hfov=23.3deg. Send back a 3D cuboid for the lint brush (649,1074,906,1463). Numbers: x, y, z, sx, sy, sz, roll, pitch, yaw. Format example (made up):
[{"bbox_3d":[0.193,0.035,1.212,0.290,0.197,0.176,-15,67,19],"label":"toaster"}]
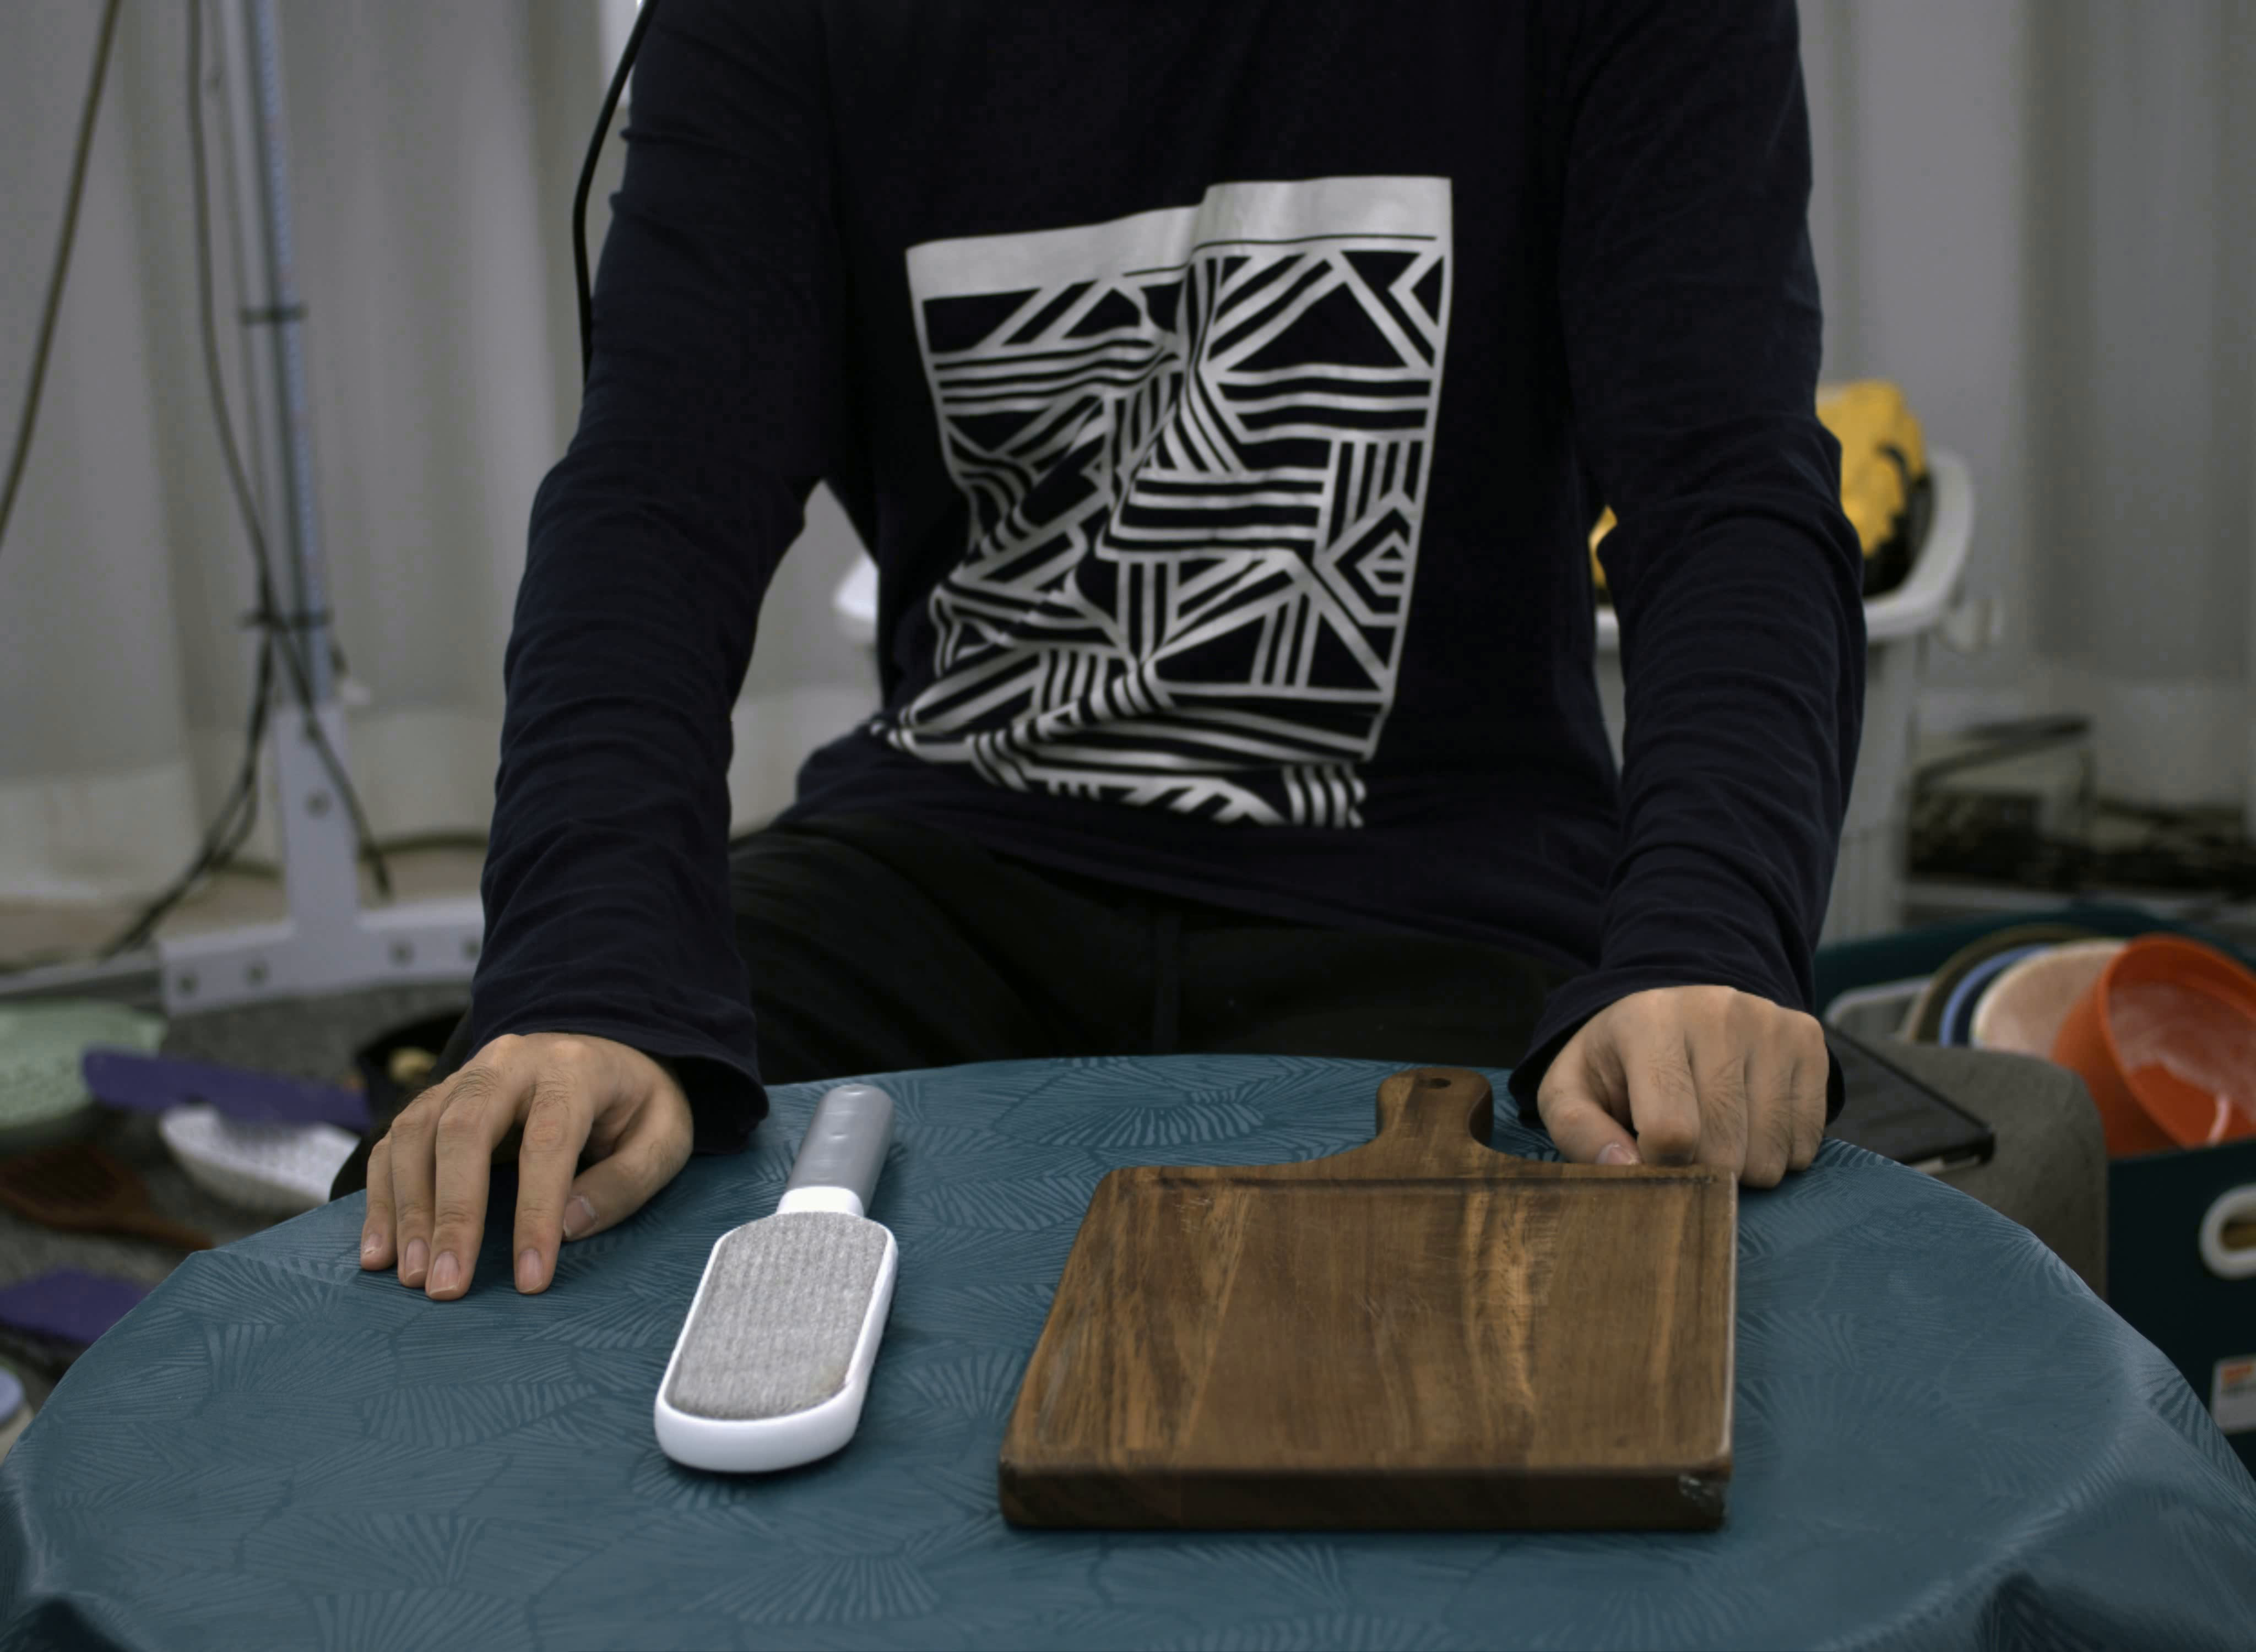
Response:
[{"bbox_3d":[-0.095,0.128,1.633,0.060,0.021,0.311,-7,14,5],"label":"lint brush"}]

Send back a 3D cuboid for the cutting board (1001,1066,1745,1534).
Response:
[{"bbox_3d":[0.081,0.132,1.599,0.200,0.023,0.354,-1,15,7],"label":"cutting board"}]
